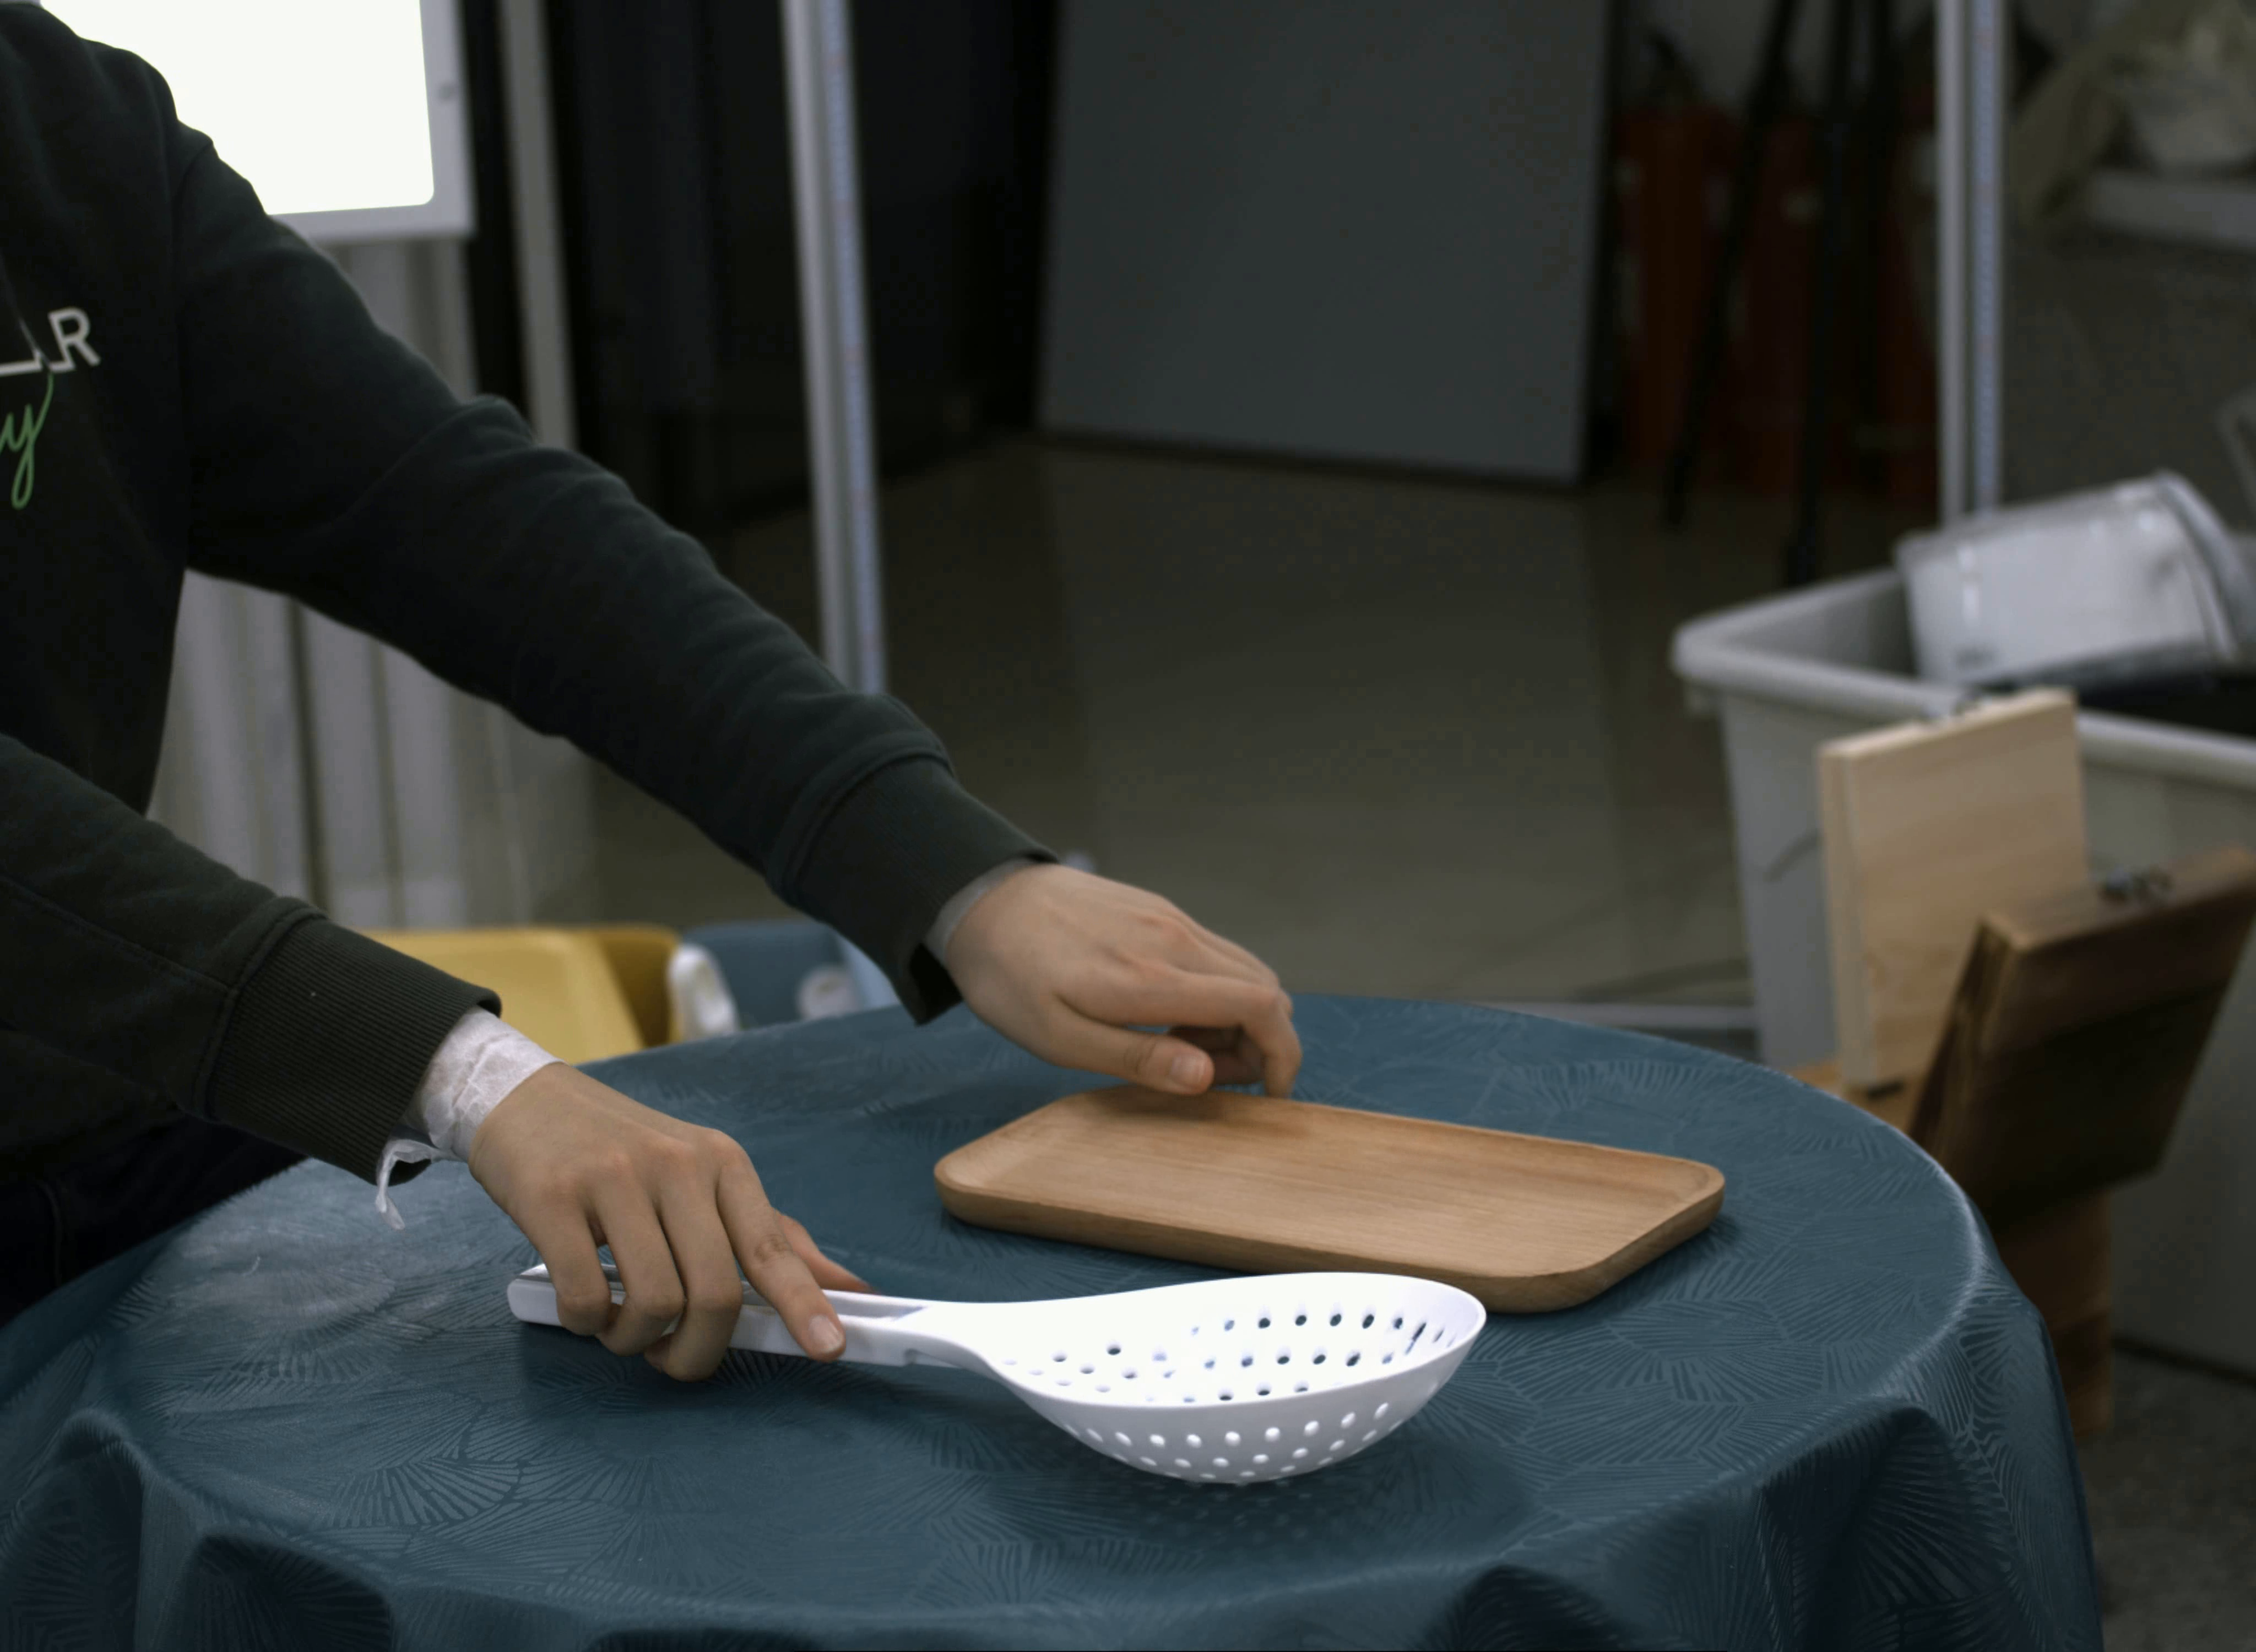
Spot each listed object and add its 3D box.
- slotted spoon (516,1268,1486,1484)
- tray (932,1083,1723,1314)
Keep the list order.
[{"bbox_3d":[-0.049,0.149,1.578,0.352,0.046,0.133,6,14,39],"label":"slotted spoon"},{"bbox_3d":[0.063,0.118,1.731,0.252,0.023,0.128,5,15,36],"label":"tray"}]
